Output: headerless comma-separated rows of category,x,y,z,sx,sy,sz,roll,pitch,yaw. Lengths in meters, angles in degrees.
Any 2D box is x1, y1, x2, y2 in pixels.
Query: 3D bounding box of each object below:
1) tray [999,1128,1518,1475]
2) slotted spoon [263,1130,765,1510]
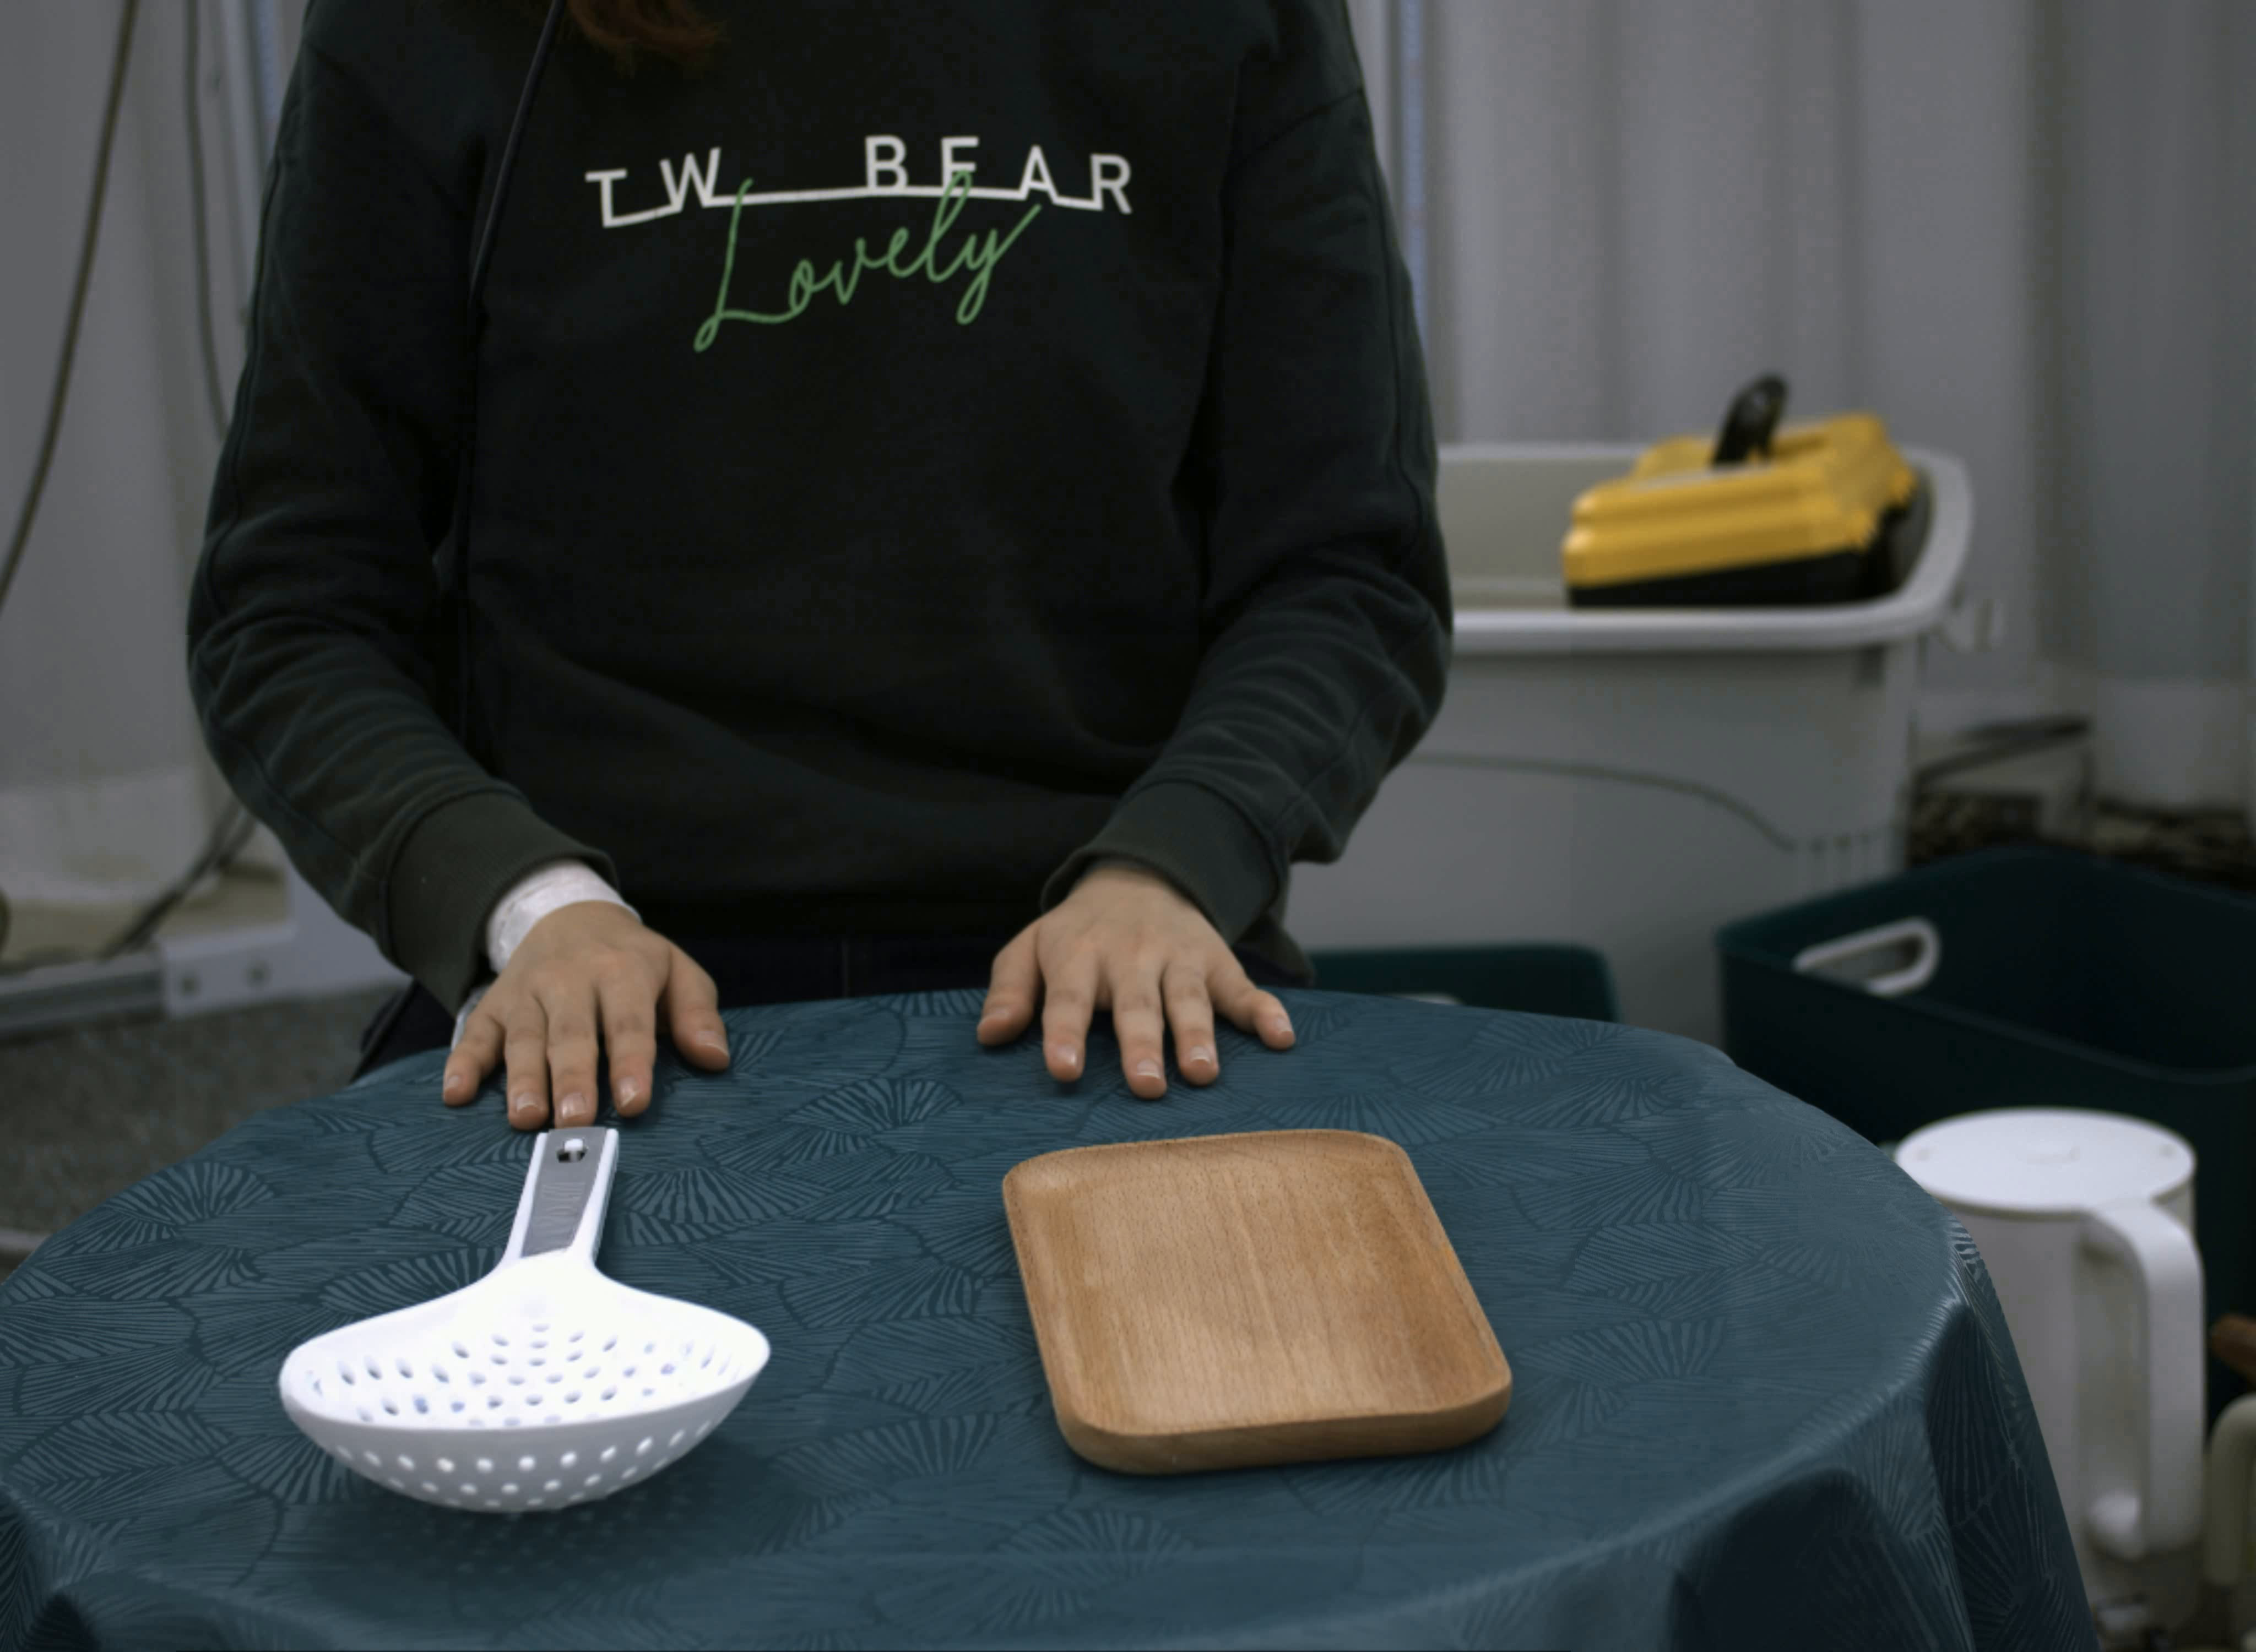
tray,0.034,0.136,1.597,0.130,0.023,0.252,-2,14,-5
slotted spoon,-0.170,0.134,1.587,0.135,0.045,0.352,-1,14,-2
